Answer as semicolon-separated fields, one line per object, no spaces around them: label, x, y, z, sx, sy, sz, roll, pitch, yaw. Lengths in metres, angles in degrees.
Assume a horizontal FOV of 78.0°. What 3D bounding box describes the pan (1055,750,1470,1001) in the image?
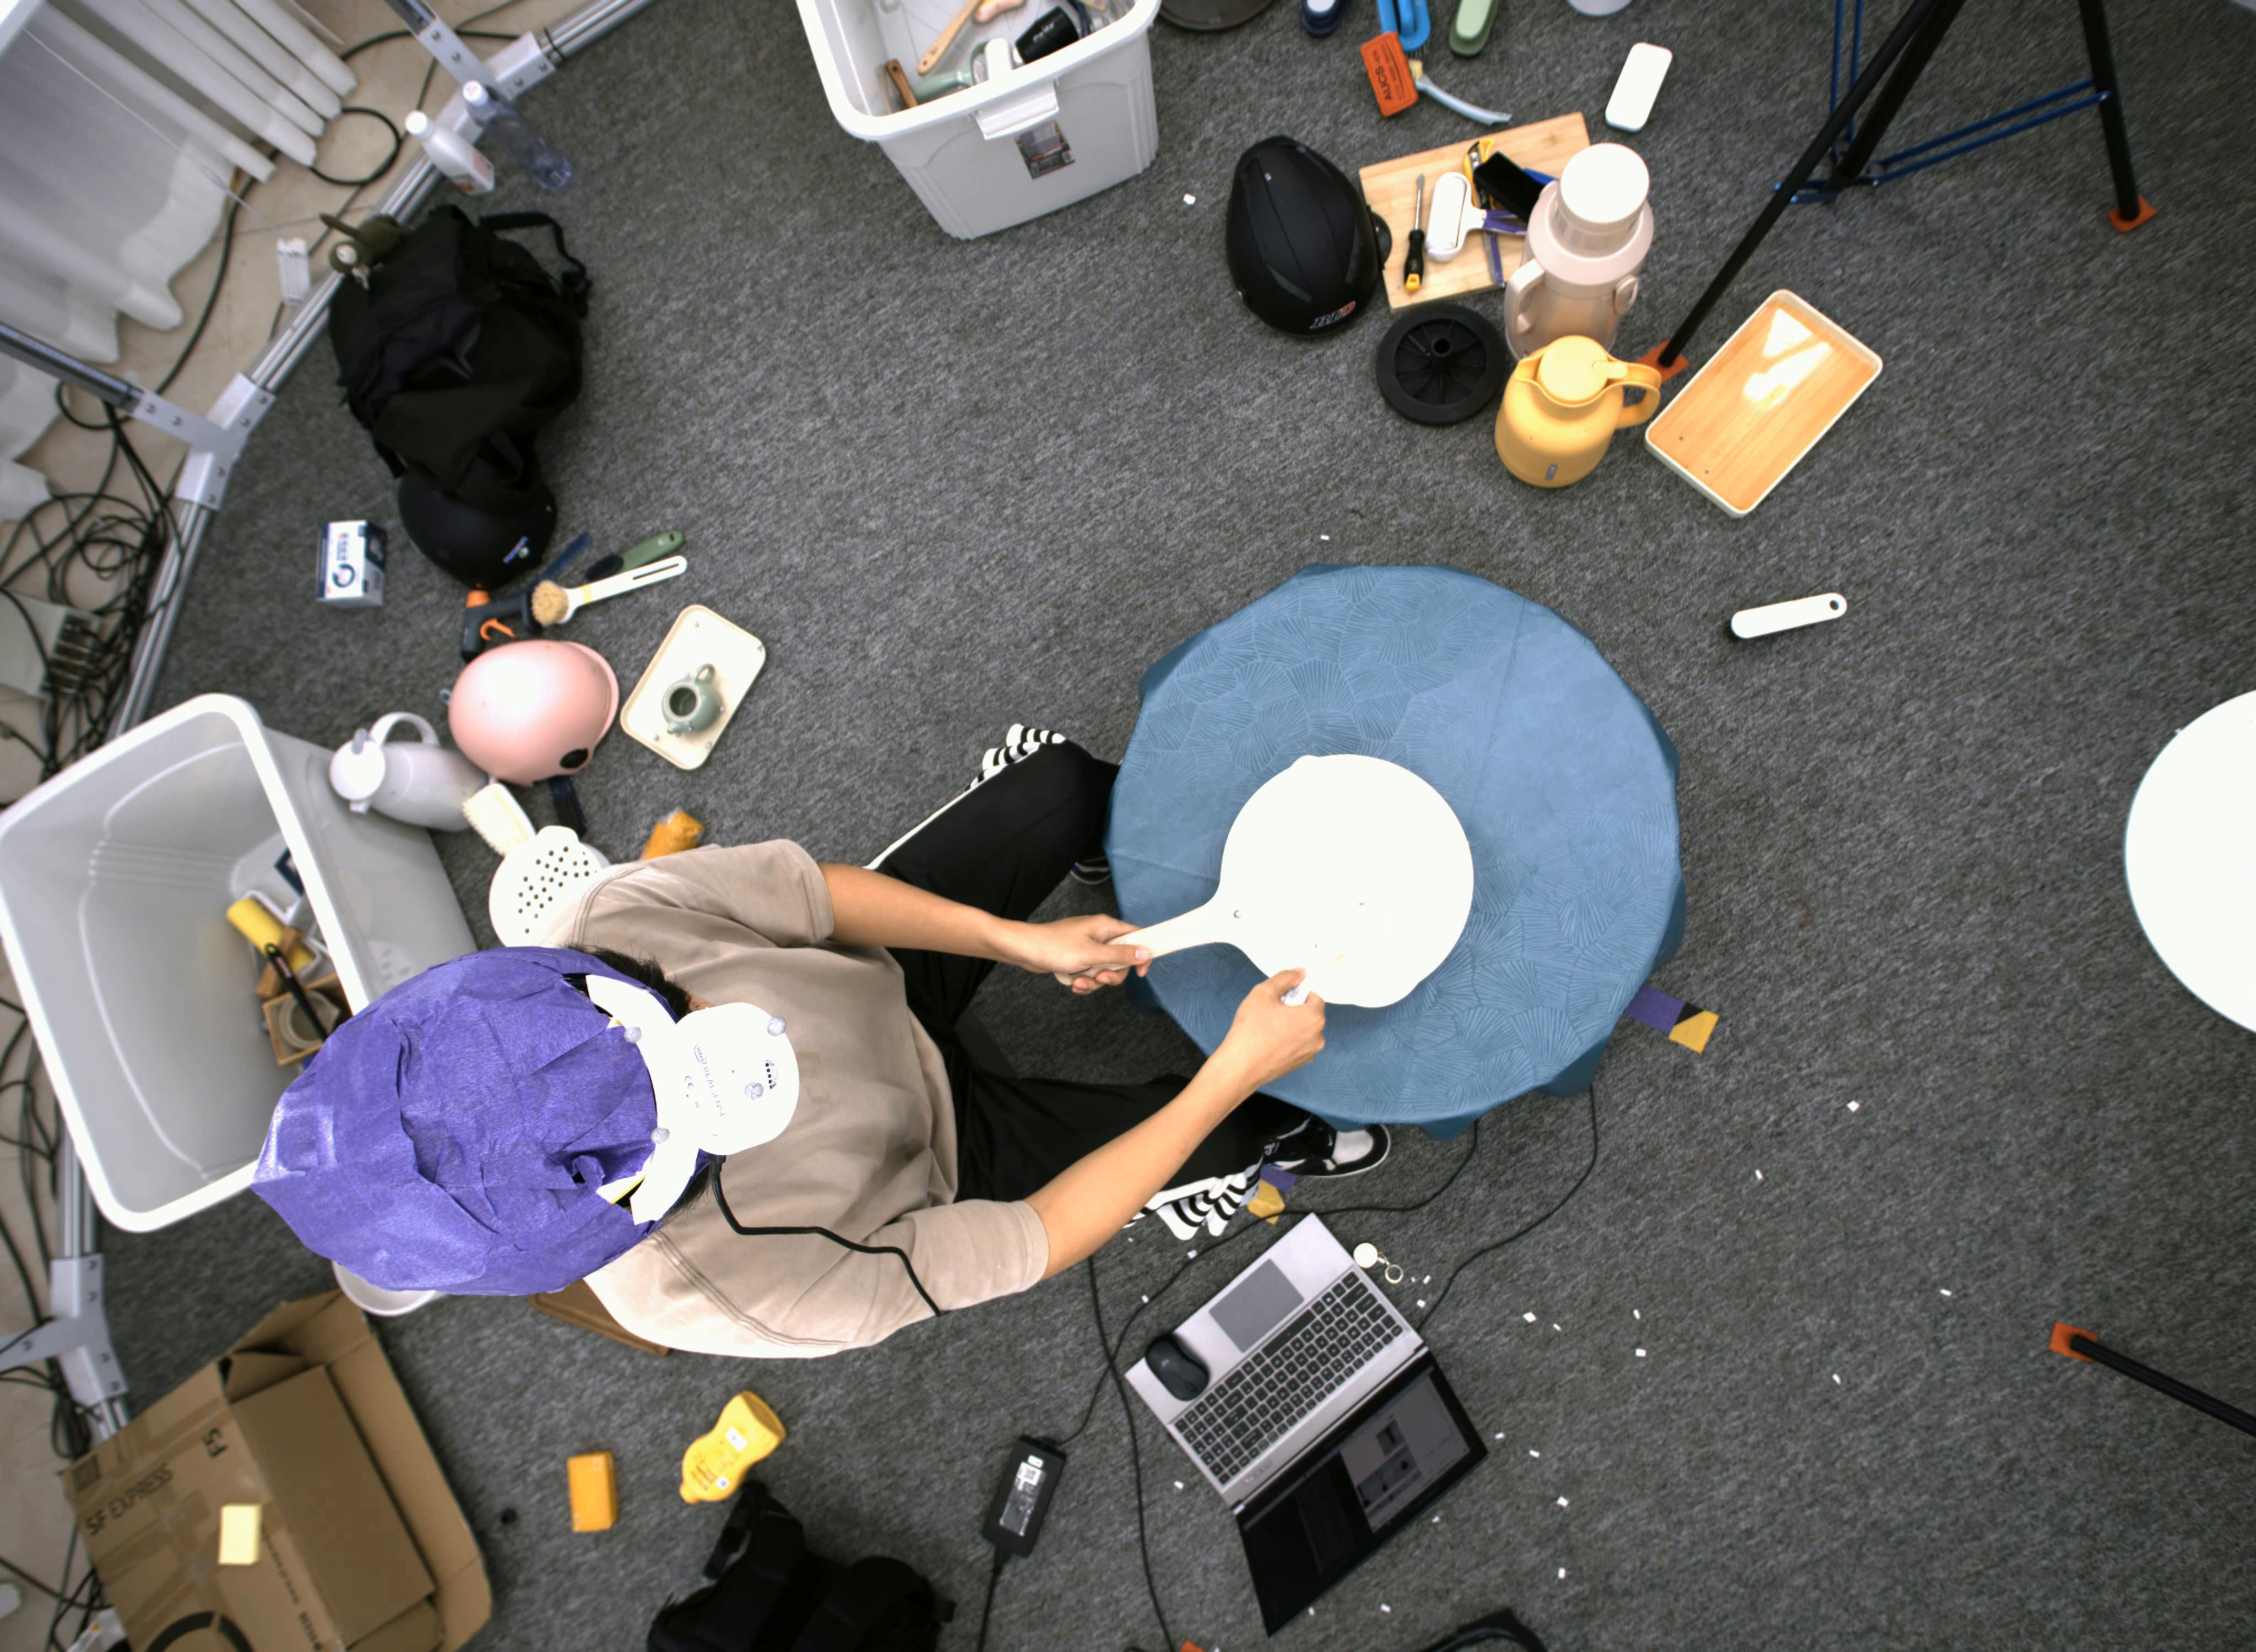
pan;0.136;0.081;1.437;0.437;0.102;0.262;-20;85;9

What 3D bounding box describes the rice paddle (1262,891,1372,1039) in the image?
rice paddle;0.189;0.131;1.397;0.069;0.030;0.200;22;49;19
